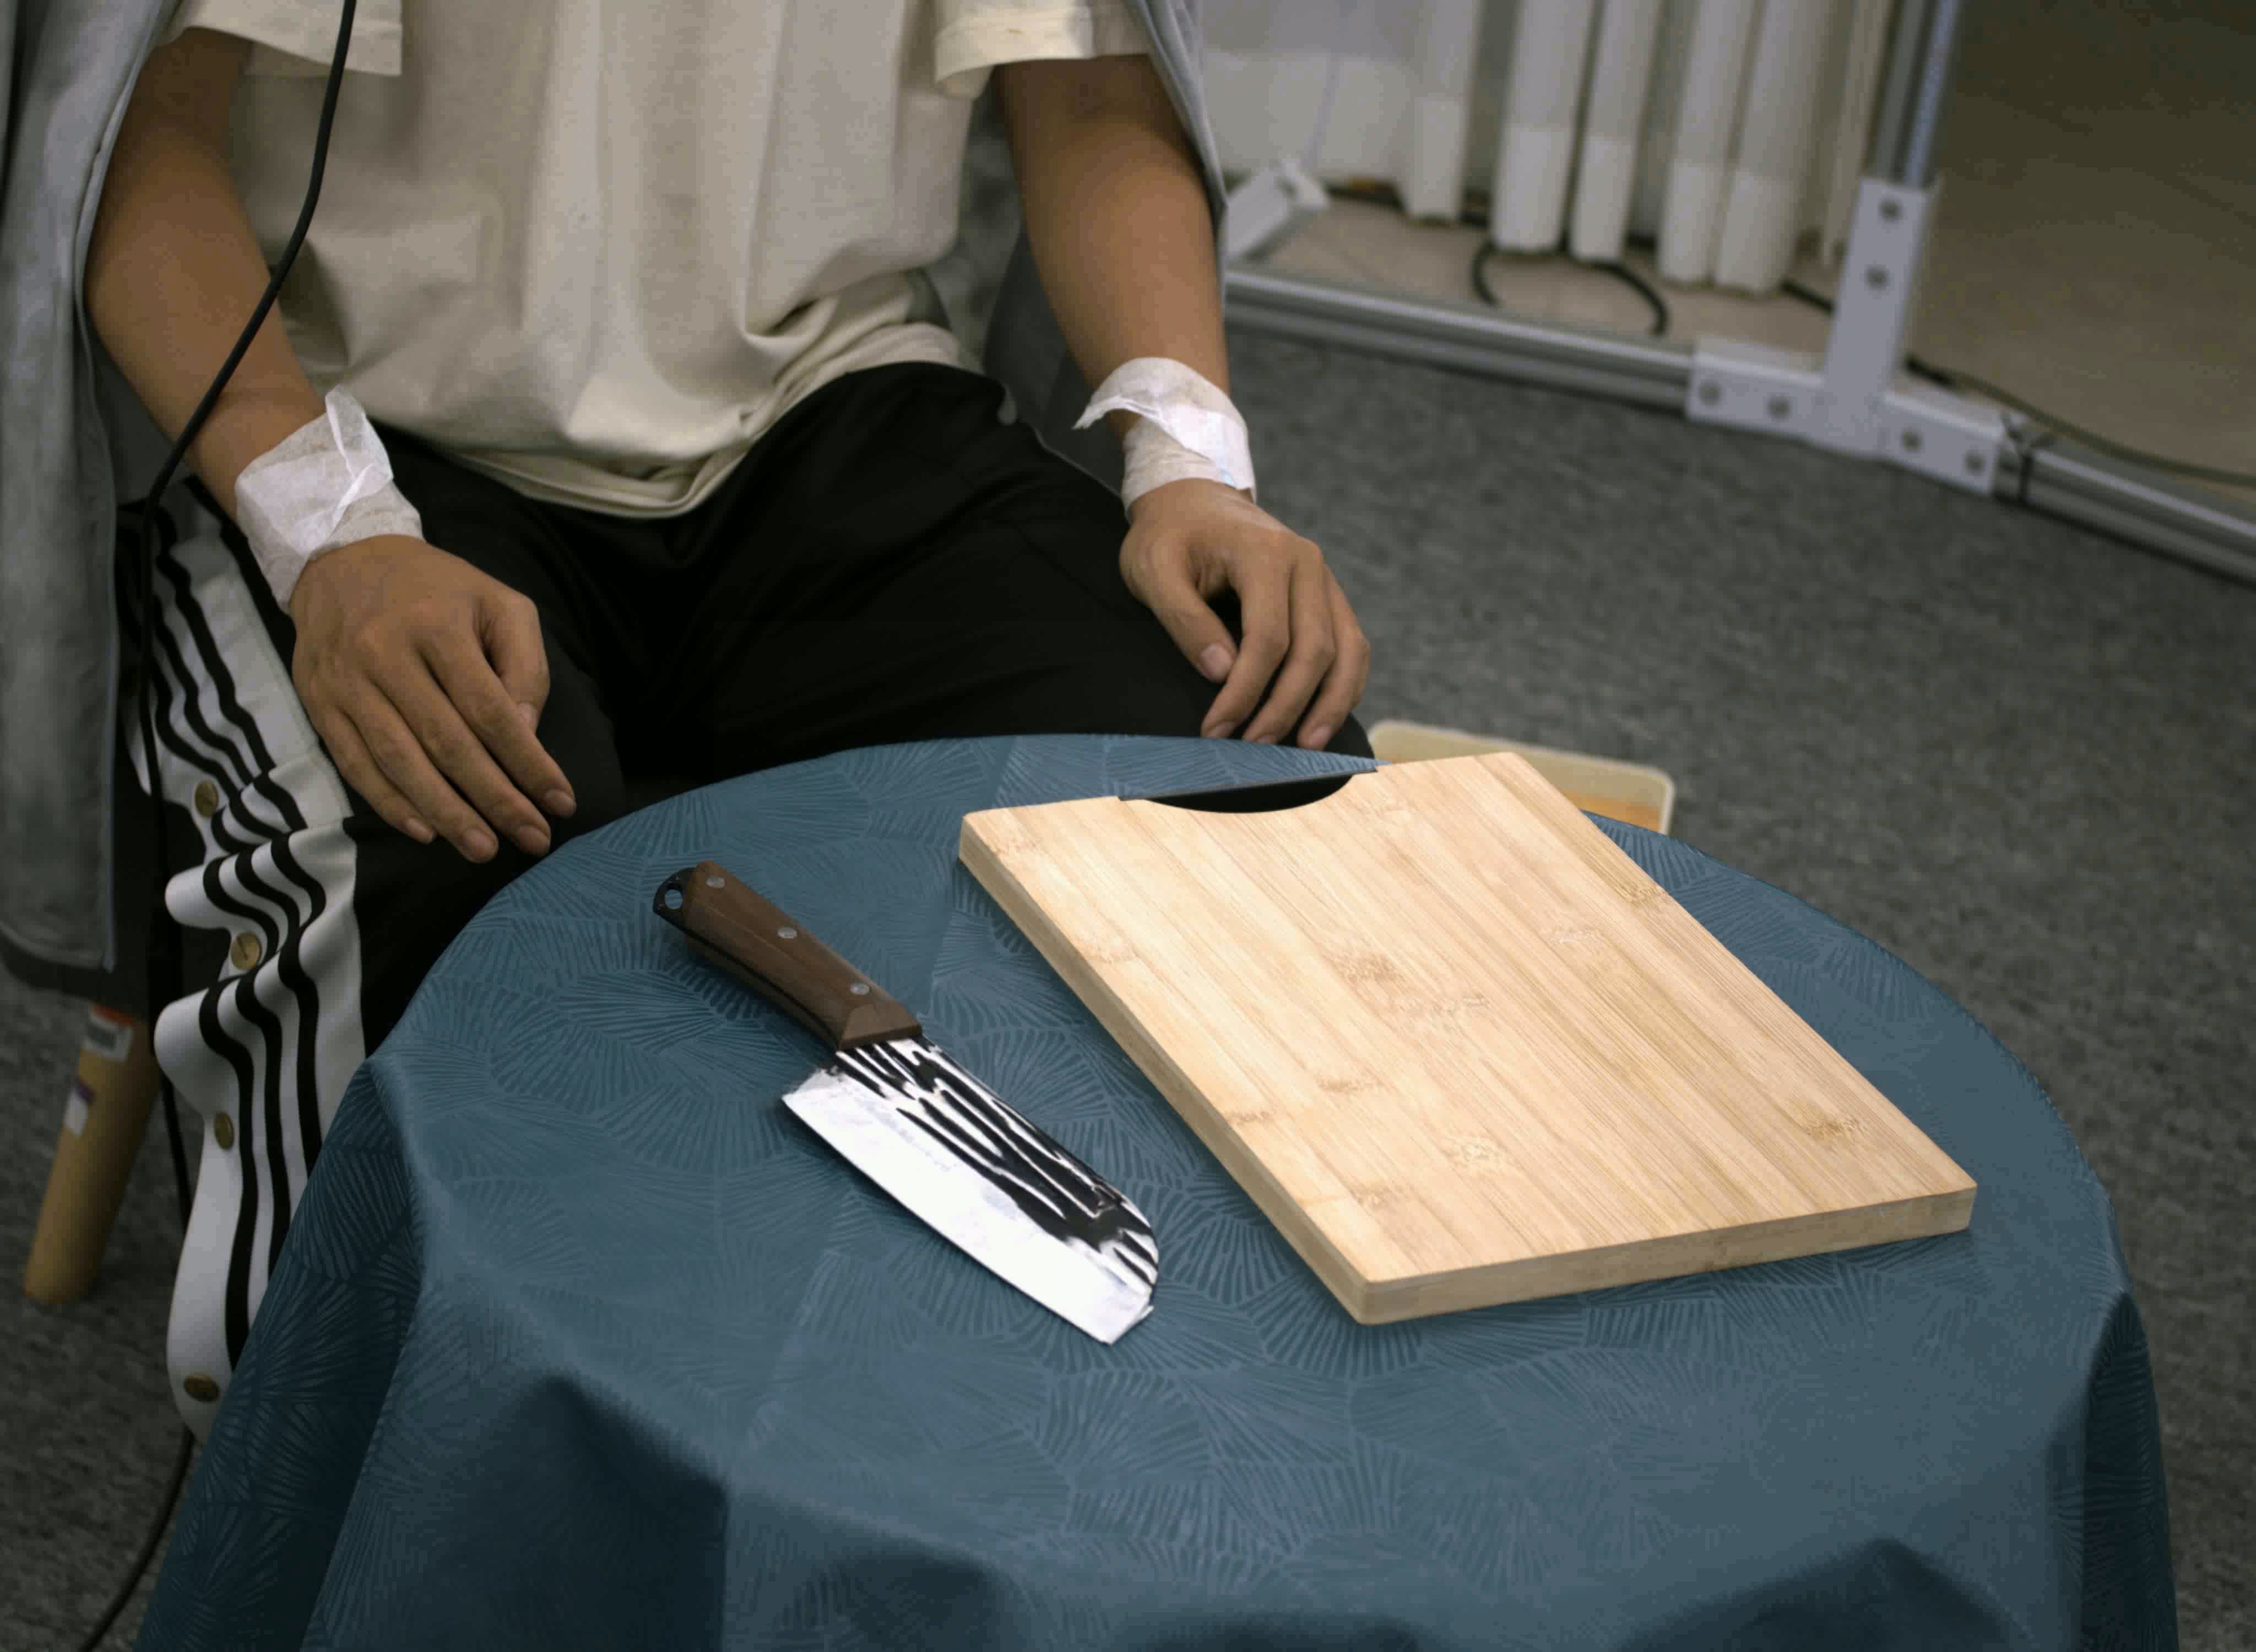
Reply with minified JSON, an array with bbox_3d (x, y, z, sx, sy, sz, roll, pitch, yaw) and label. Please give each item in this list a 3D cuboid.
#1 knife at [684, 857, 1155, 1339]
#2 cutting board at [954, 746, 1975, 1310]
[{"bbox_3d":[-0.081,0.092,1.827,0.068,0.024,0.302,-16,38,-34],"label":"knife"},{"bbox_3d":[0.113,0.066,1.926,0.249,0.023,0.352,-7,30,-25],"label":"cutting board"}]
